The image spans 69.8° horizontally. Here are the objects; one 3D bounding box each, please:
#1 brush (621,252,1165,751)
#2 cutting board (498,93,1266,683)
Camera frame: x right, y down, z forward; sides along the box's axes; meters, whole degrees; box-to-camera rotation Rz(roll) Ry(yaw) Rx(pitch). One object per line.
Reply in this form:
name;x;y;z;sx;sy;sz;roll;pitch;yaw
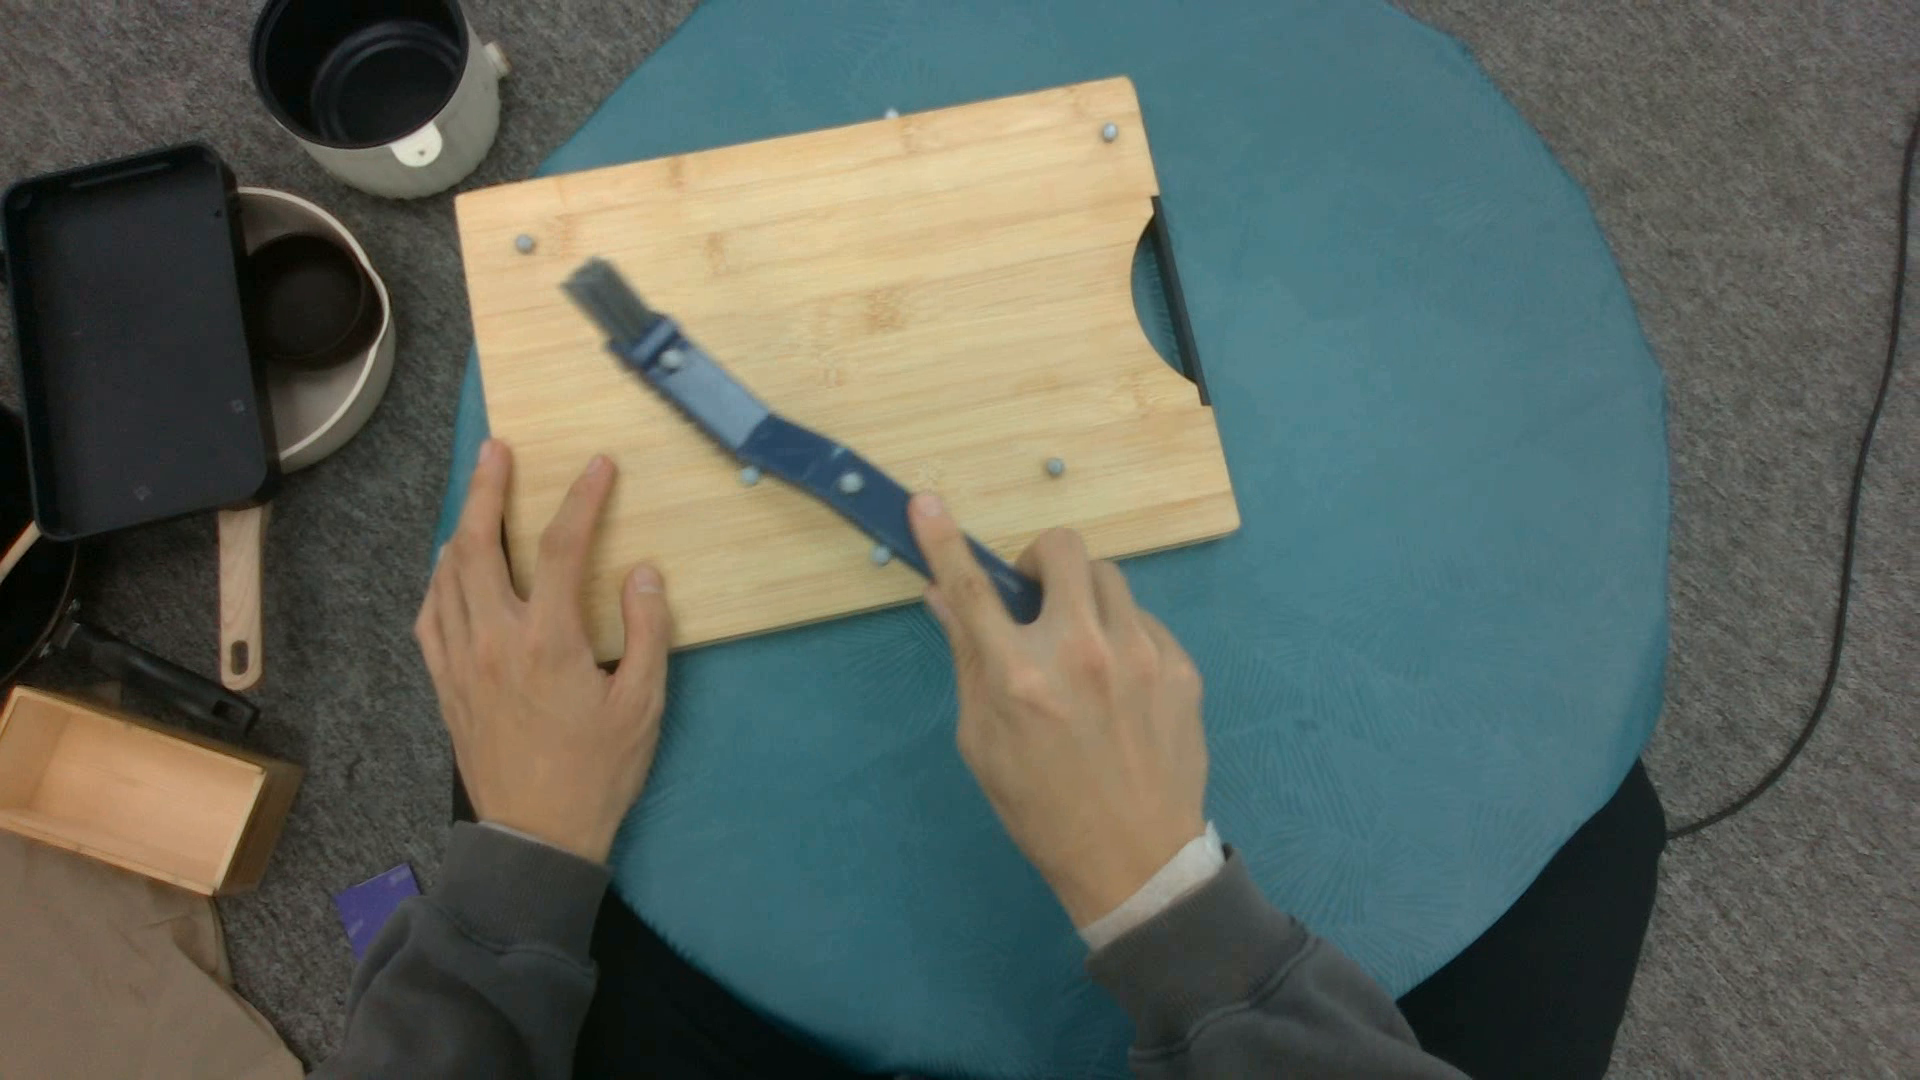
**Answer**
brush;-0.030;-0.015;0.567;0.273;0.095;0.033;35;65;15
cutting board;-0.045;-0.081;0.689;0.349;0.023;0.251;-13;80;-4
